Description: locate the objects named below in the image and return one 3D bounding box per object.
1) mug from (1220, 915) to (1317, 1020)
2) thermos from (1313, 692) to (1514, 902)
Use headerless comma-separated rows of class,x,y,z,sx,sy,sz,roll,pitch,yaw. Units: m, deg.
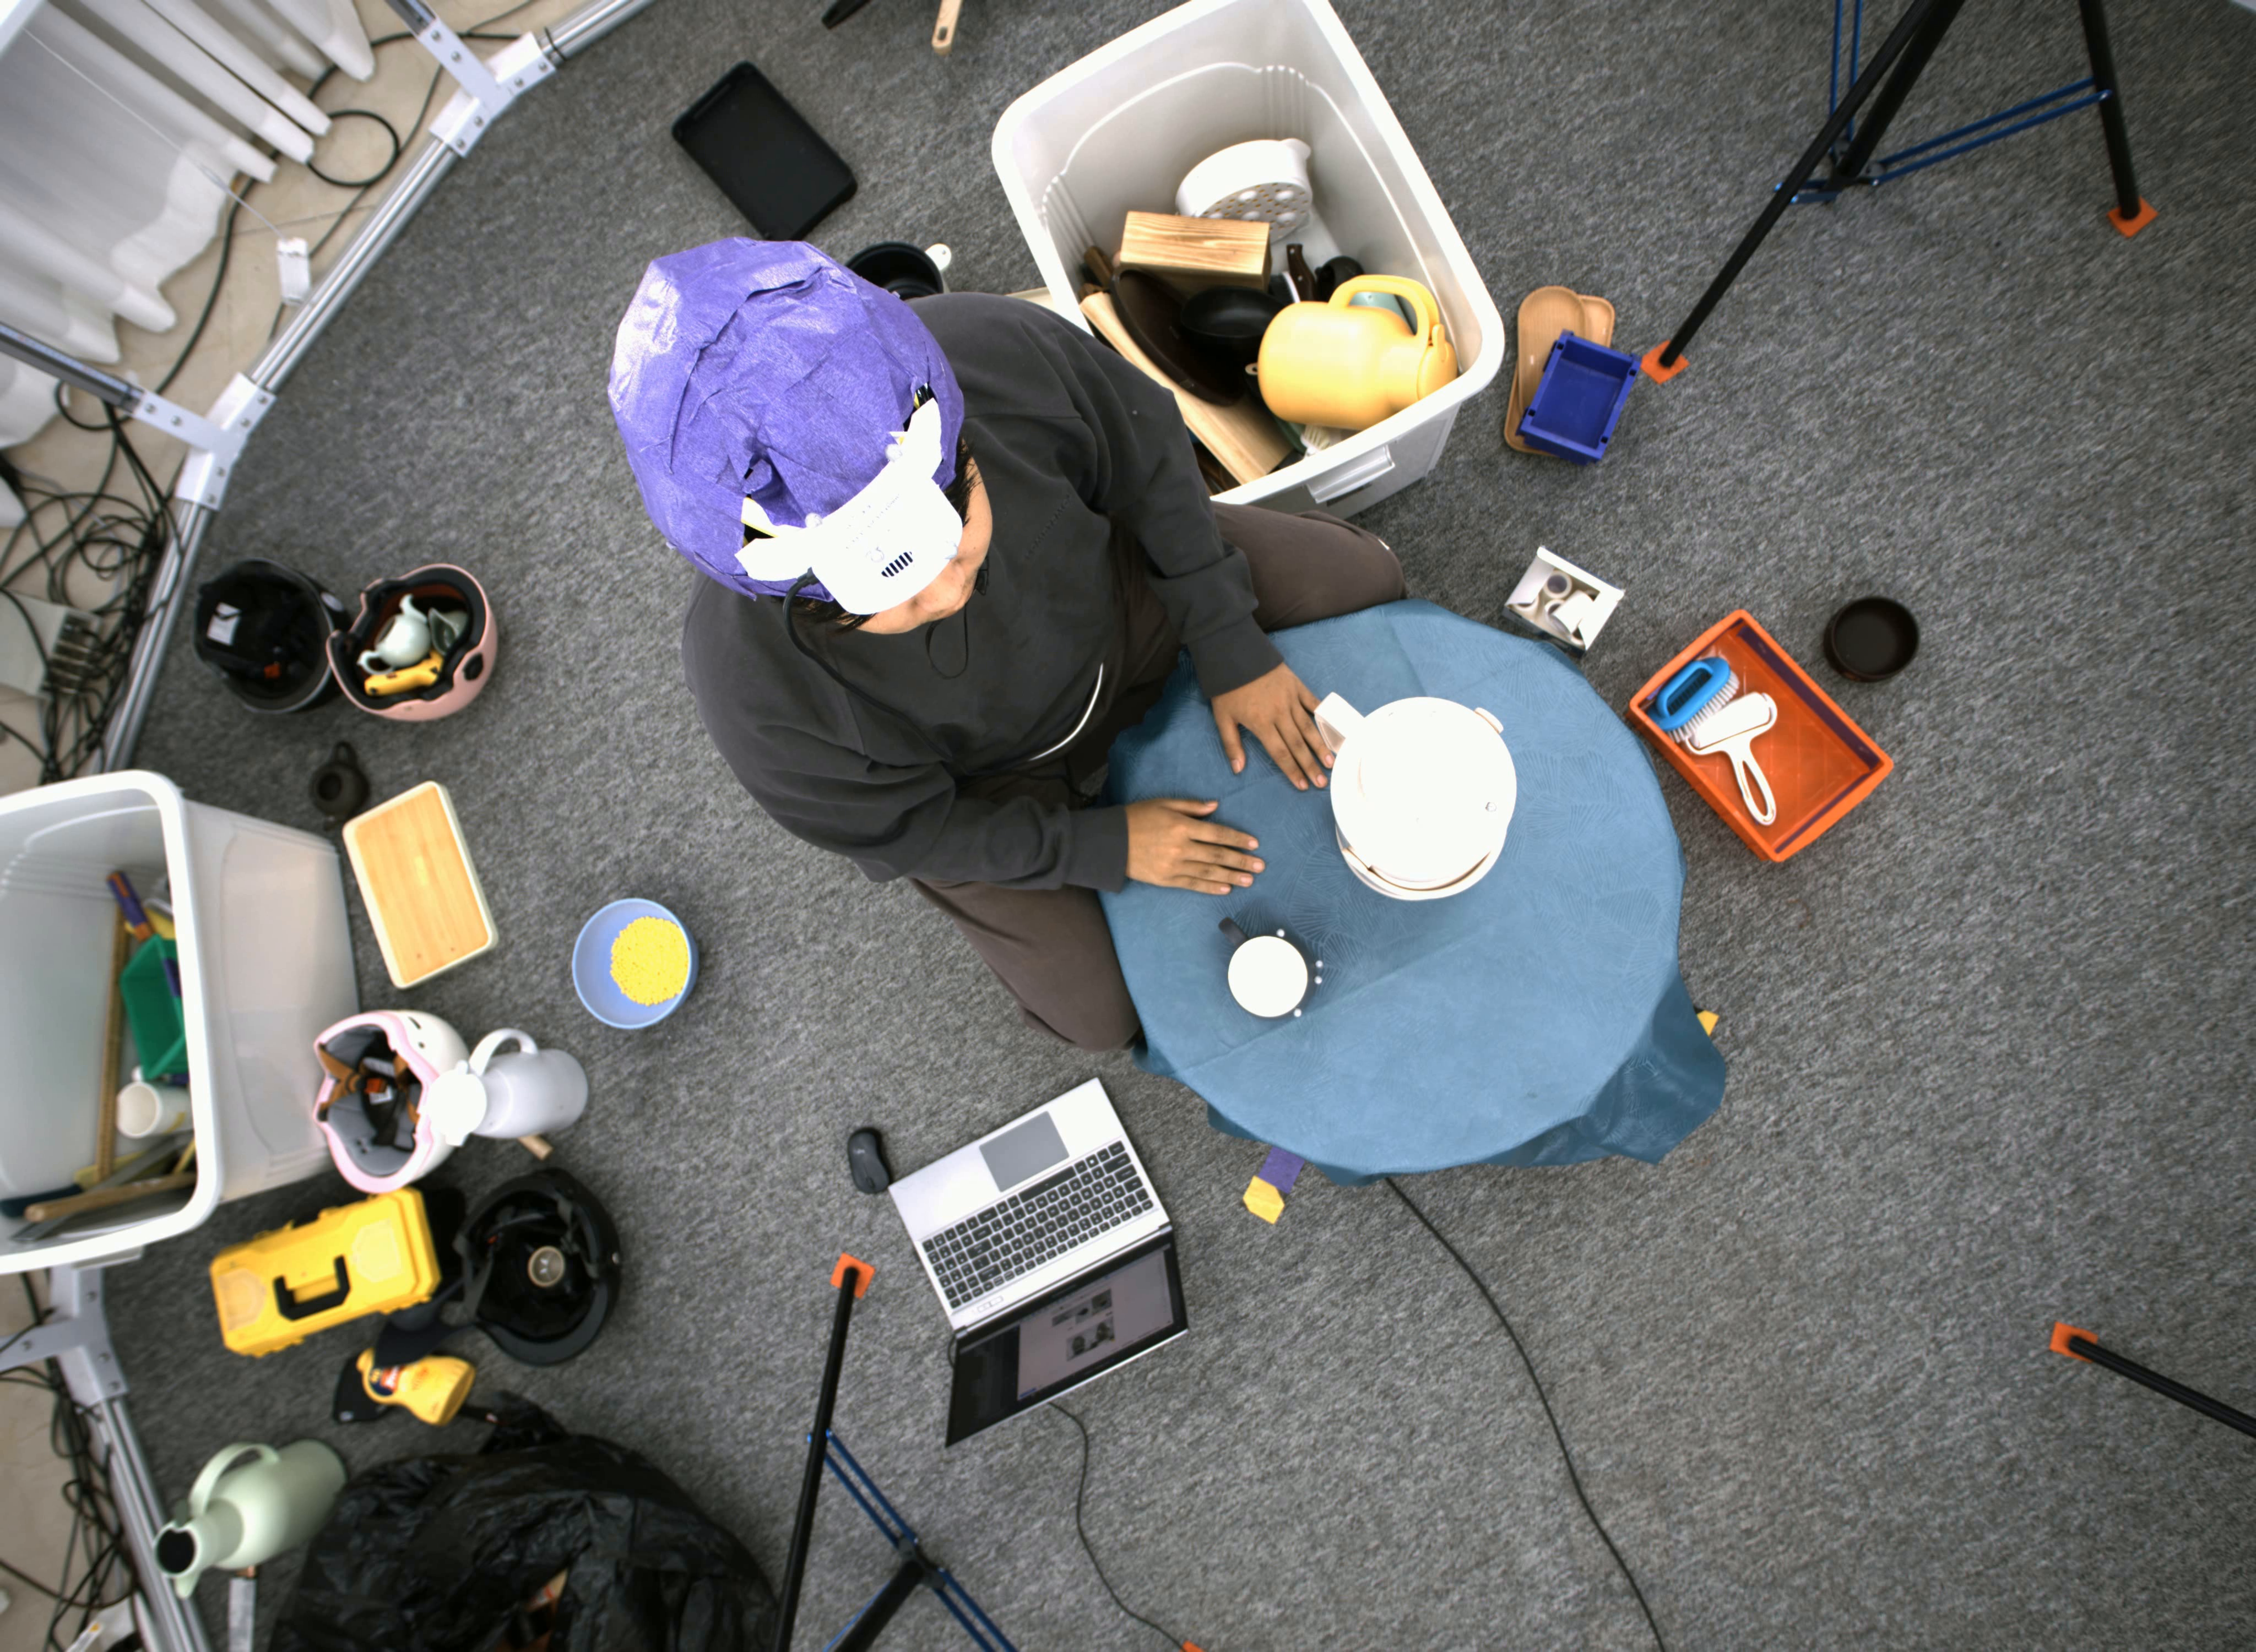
mug,0.139,0.142,1.436,0.094,0.090,0.122,-39,80,5
thermos,0.256,-0.033,1.268,0.206,0.407,0.176,43,93,11
